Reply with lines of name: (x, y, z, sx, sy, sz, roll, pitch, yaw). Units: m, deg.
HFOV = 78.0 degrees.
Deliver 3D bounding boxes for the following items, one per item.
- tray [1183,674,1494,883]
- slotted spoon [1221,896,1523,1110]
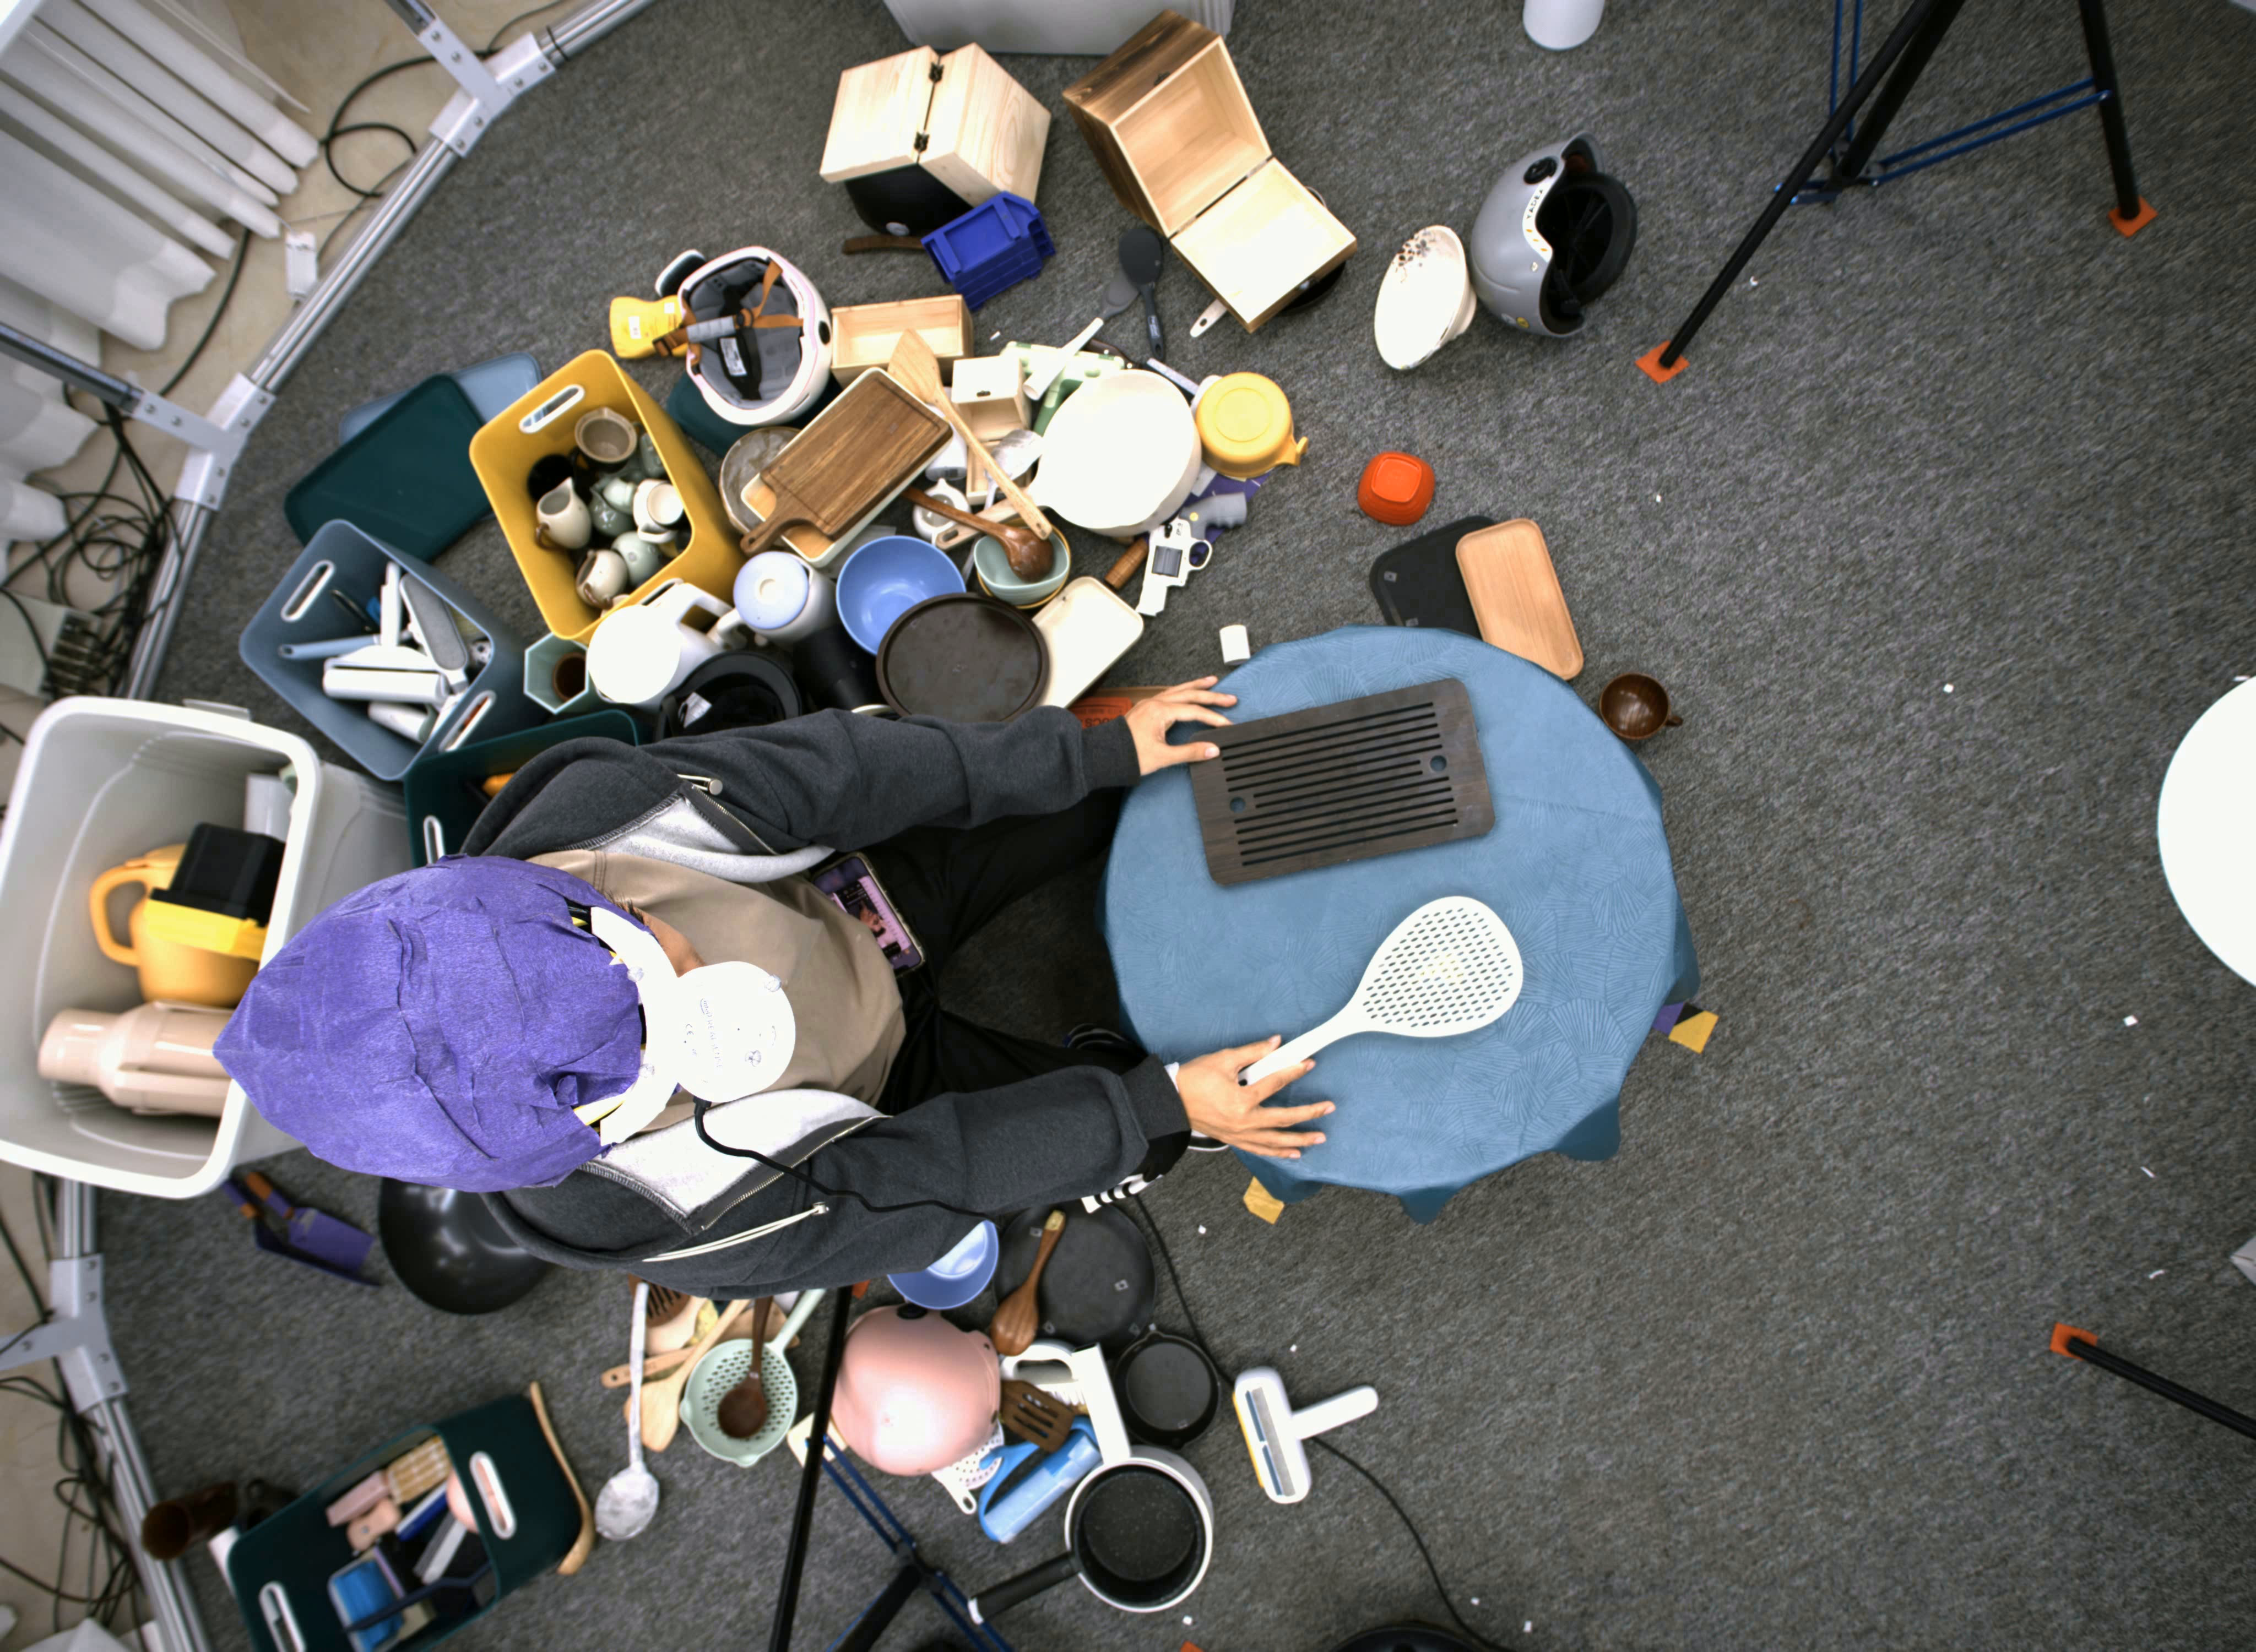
tray: (0.221, -0.050, 1.465, 0.307, 0.018, 0.169, -12, 85, 10)
slotted spoon: (0.242, 0.198, 1.437, 0.350, 0.050, 0.136, -31, 82, 7)
